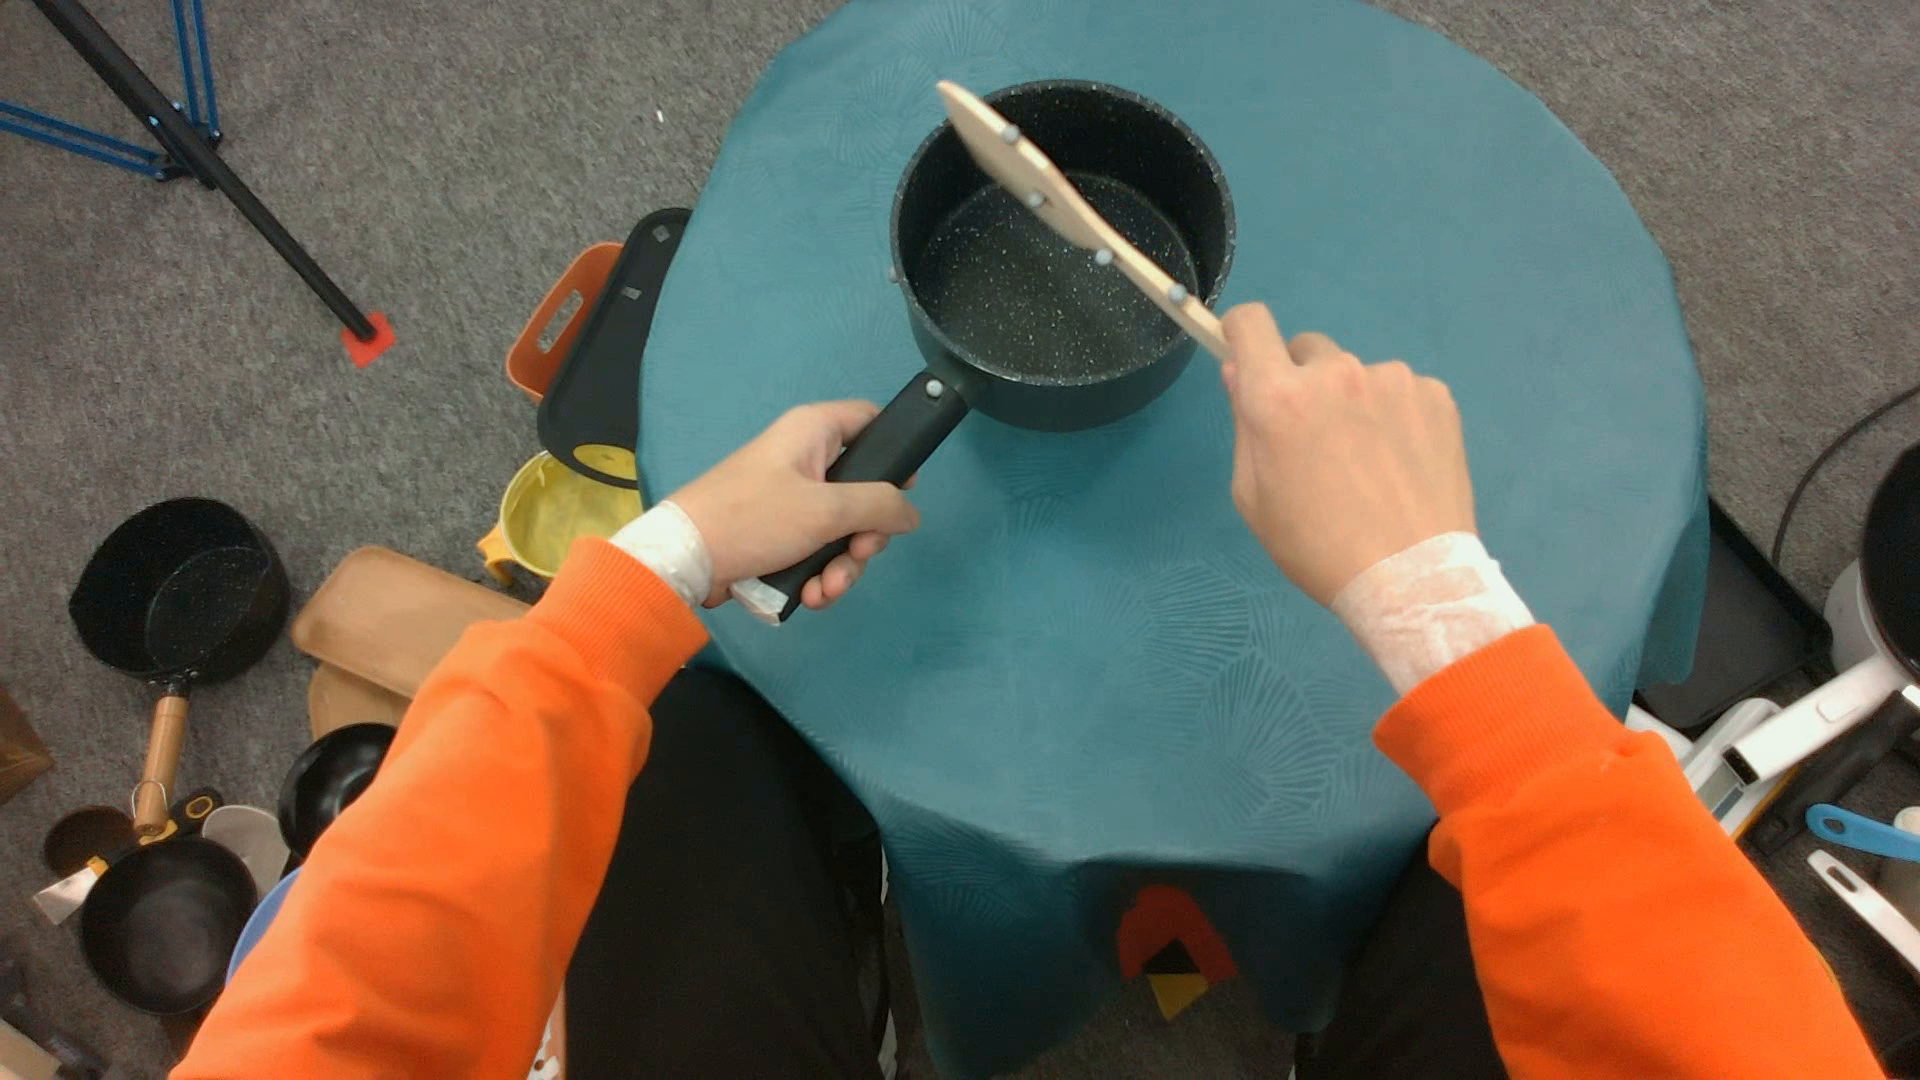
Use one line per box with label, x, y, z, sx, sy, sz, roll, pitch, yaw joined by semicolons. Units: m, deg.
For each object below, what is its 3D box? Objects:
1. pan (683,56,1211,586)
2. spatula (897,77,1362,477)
pan;-0.010;-0.097;0.693;0.172;0.086;0.329;37;75;13
spatula;0.072;-0.123;0.628;0.010;0.072;0.293;-44;63;-2
